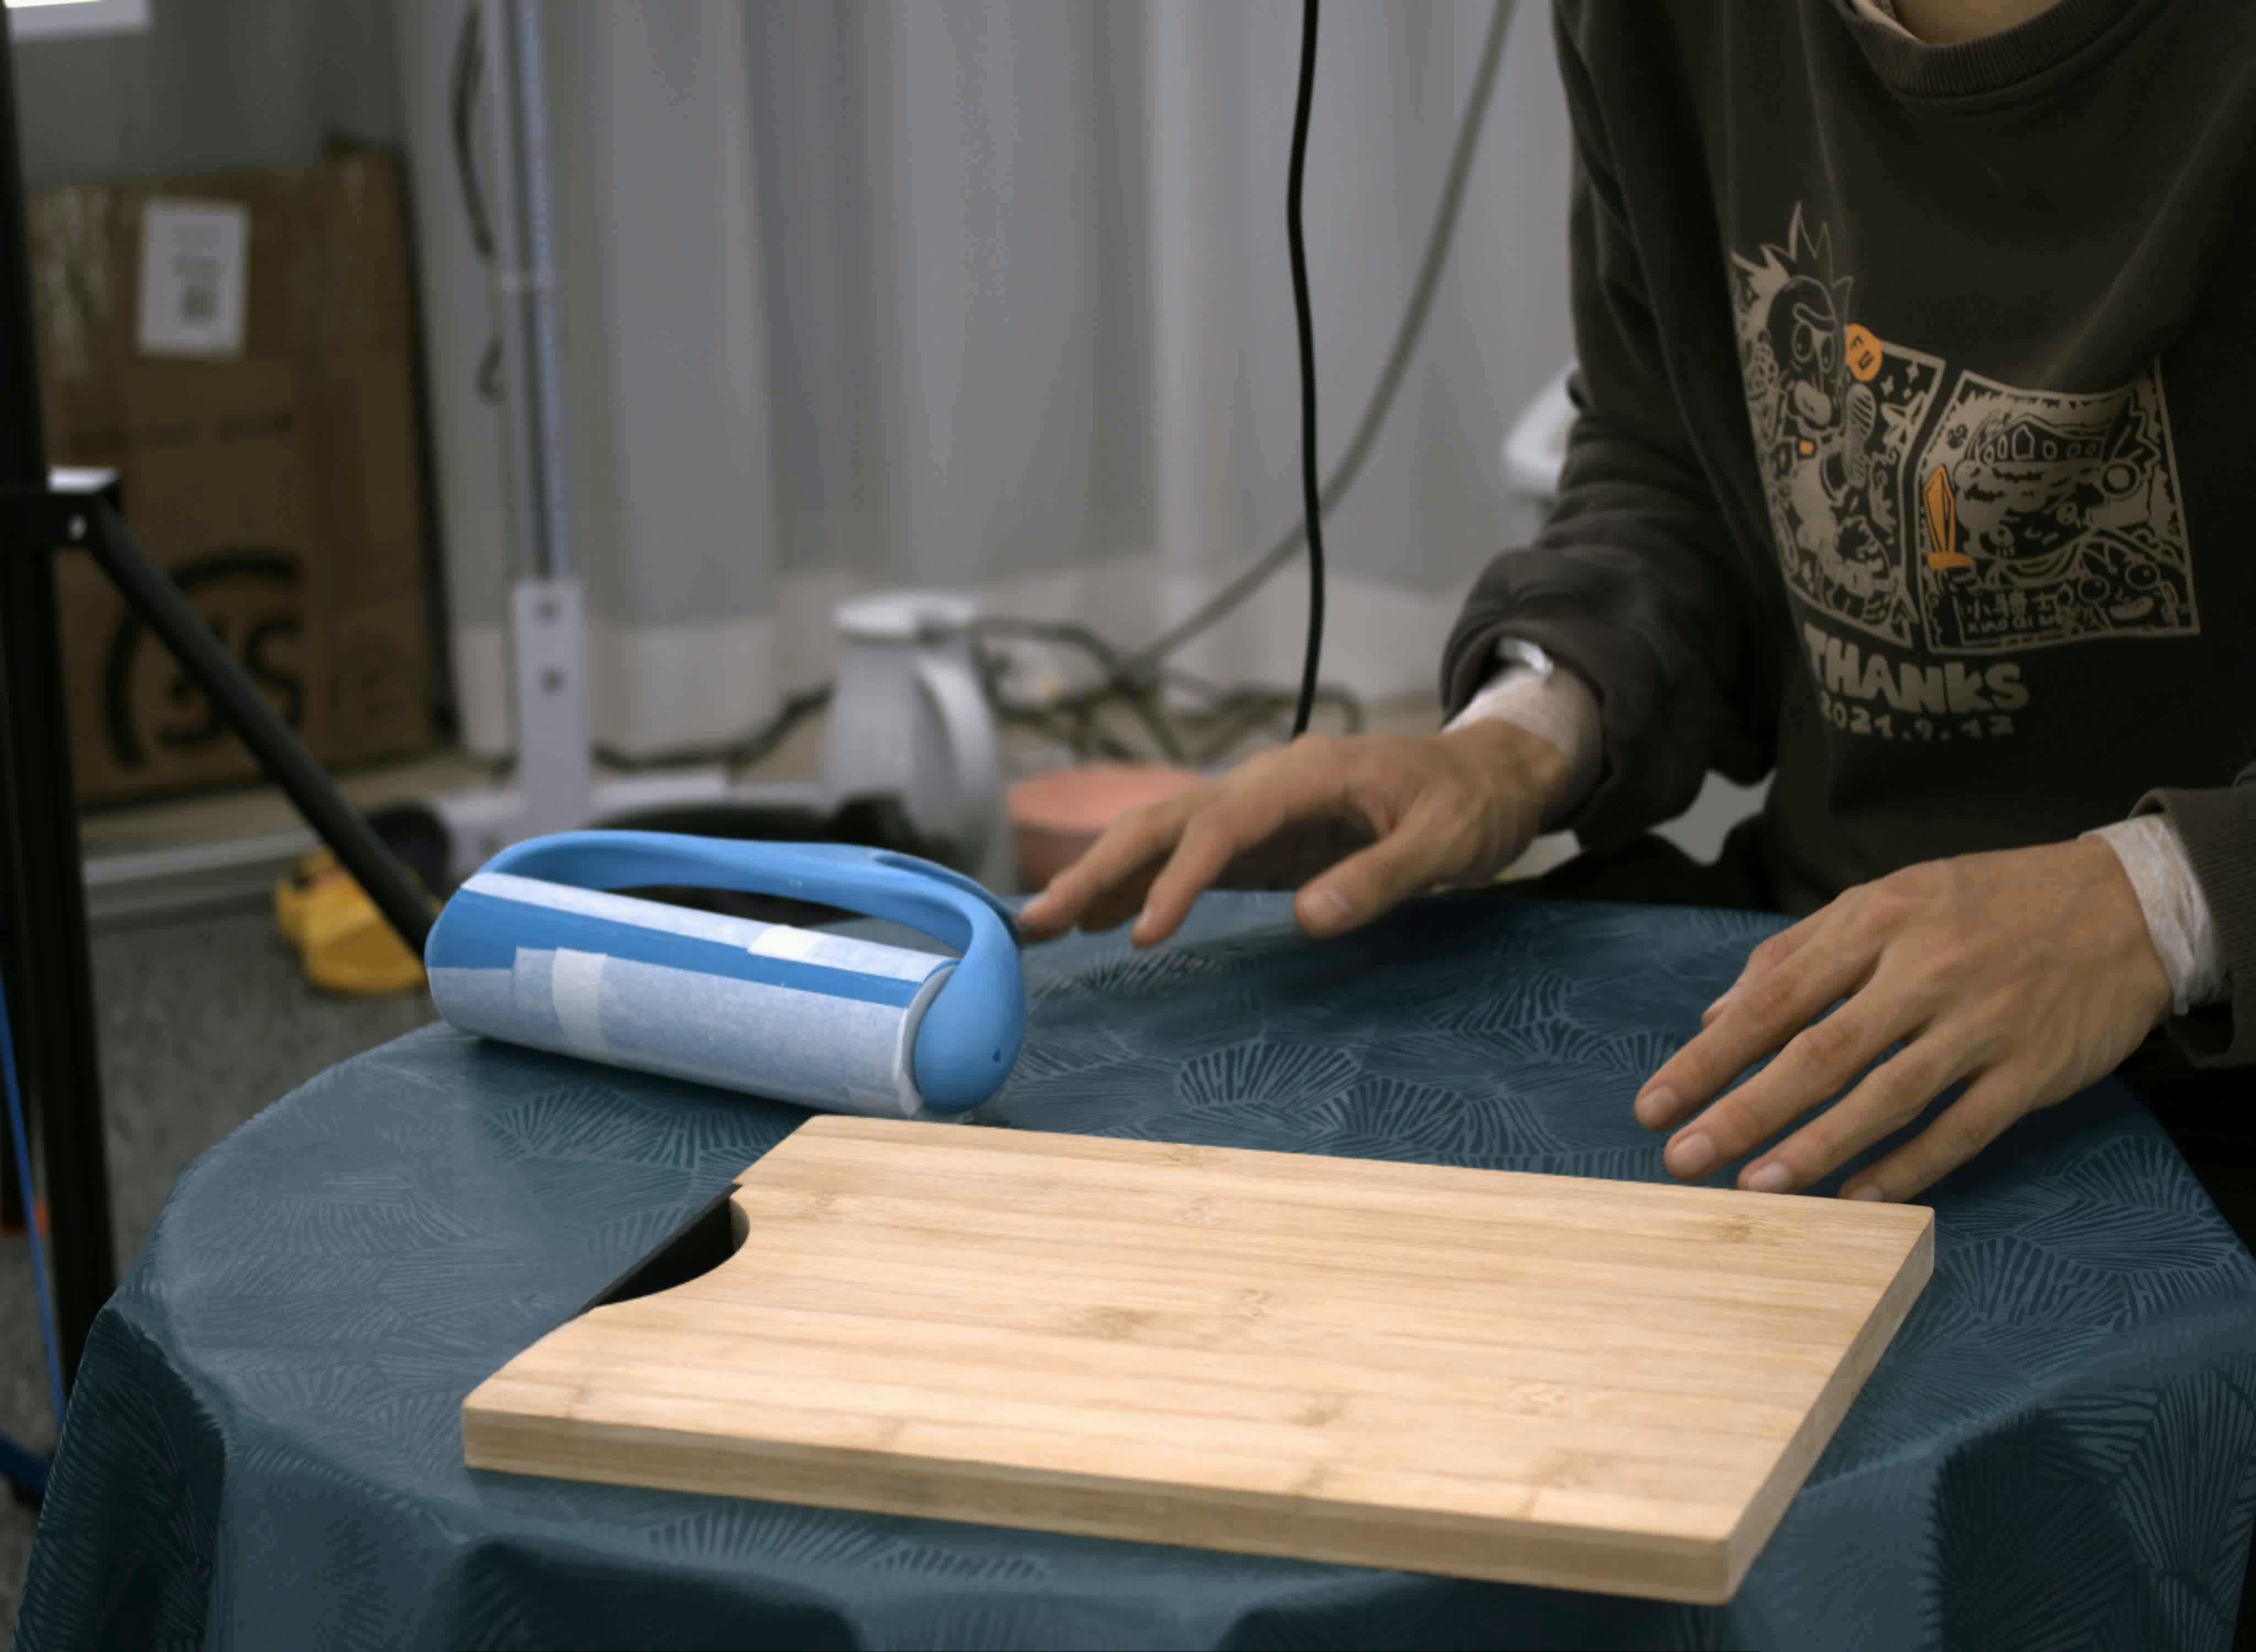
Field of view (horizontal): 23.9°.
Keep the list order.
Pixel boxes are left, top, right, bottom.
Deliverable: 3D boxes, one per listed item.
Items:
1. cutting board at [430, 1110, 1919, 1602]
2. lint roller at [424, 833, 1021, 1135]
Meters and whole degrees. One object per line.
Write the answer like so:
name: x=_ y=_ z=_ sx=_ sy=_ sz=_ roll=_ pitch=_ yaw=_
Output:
cutting board: x=0.019 y=0.137 z=1.428 sx=0.353 sy=0.023 sz=0.248 roll=3 pitch=16 yaw=21
lint roller: x=-0.099 y=0.038 z=1.722 sx=0.233 sy=0.068 sz=0.177 roll=7 pitch=20 yaw=35
